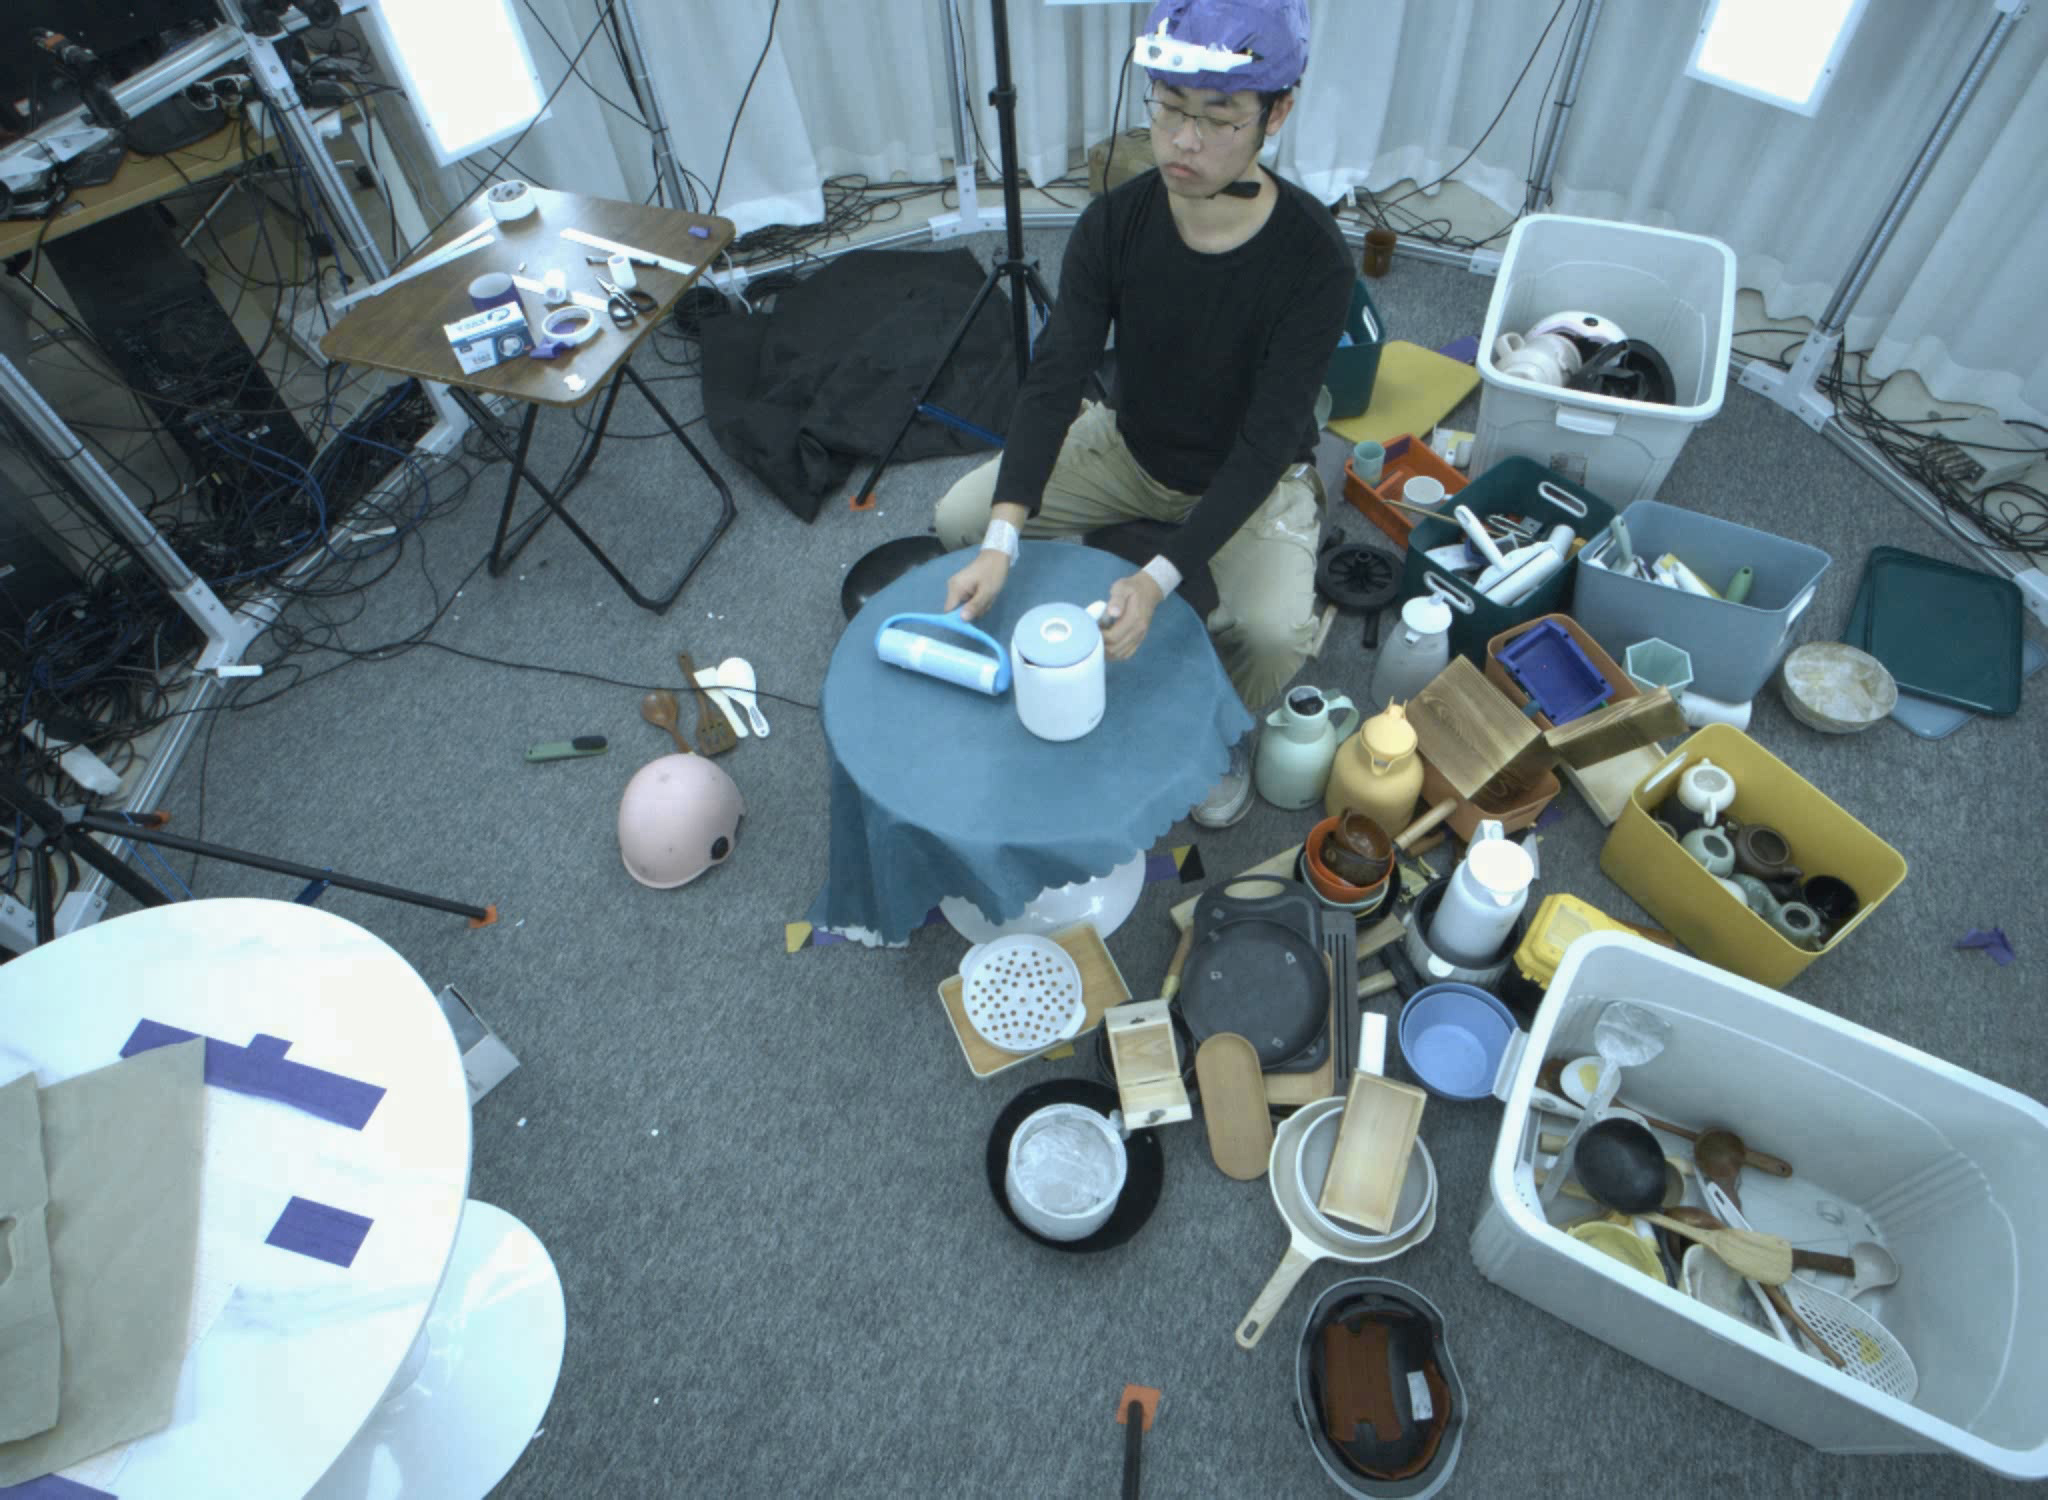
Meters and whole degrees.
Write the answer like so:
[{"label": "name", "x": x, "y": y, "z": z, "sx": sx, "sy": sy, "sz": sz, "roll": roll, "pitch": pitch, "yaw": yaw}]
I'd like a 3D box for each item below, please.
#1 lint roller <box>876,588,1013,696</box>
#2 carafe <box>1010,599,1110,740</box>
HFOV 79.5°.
[{"label": "lint roller", "x": -0.101, "y": -0.187, "z": 1.875, "sx": 0.226, "sy": 0.069, "sz": 0.180, "roll": 16, "pitch": 70, "yaw": 17}, {"label": "carafe", "x": 0.064, "y": -0.128, "z": 1.770, "sx": 0.130, "sy": 0.184, "sz": 0.192, "roll": 32, "pitch": 60, "yaw": 23}]
